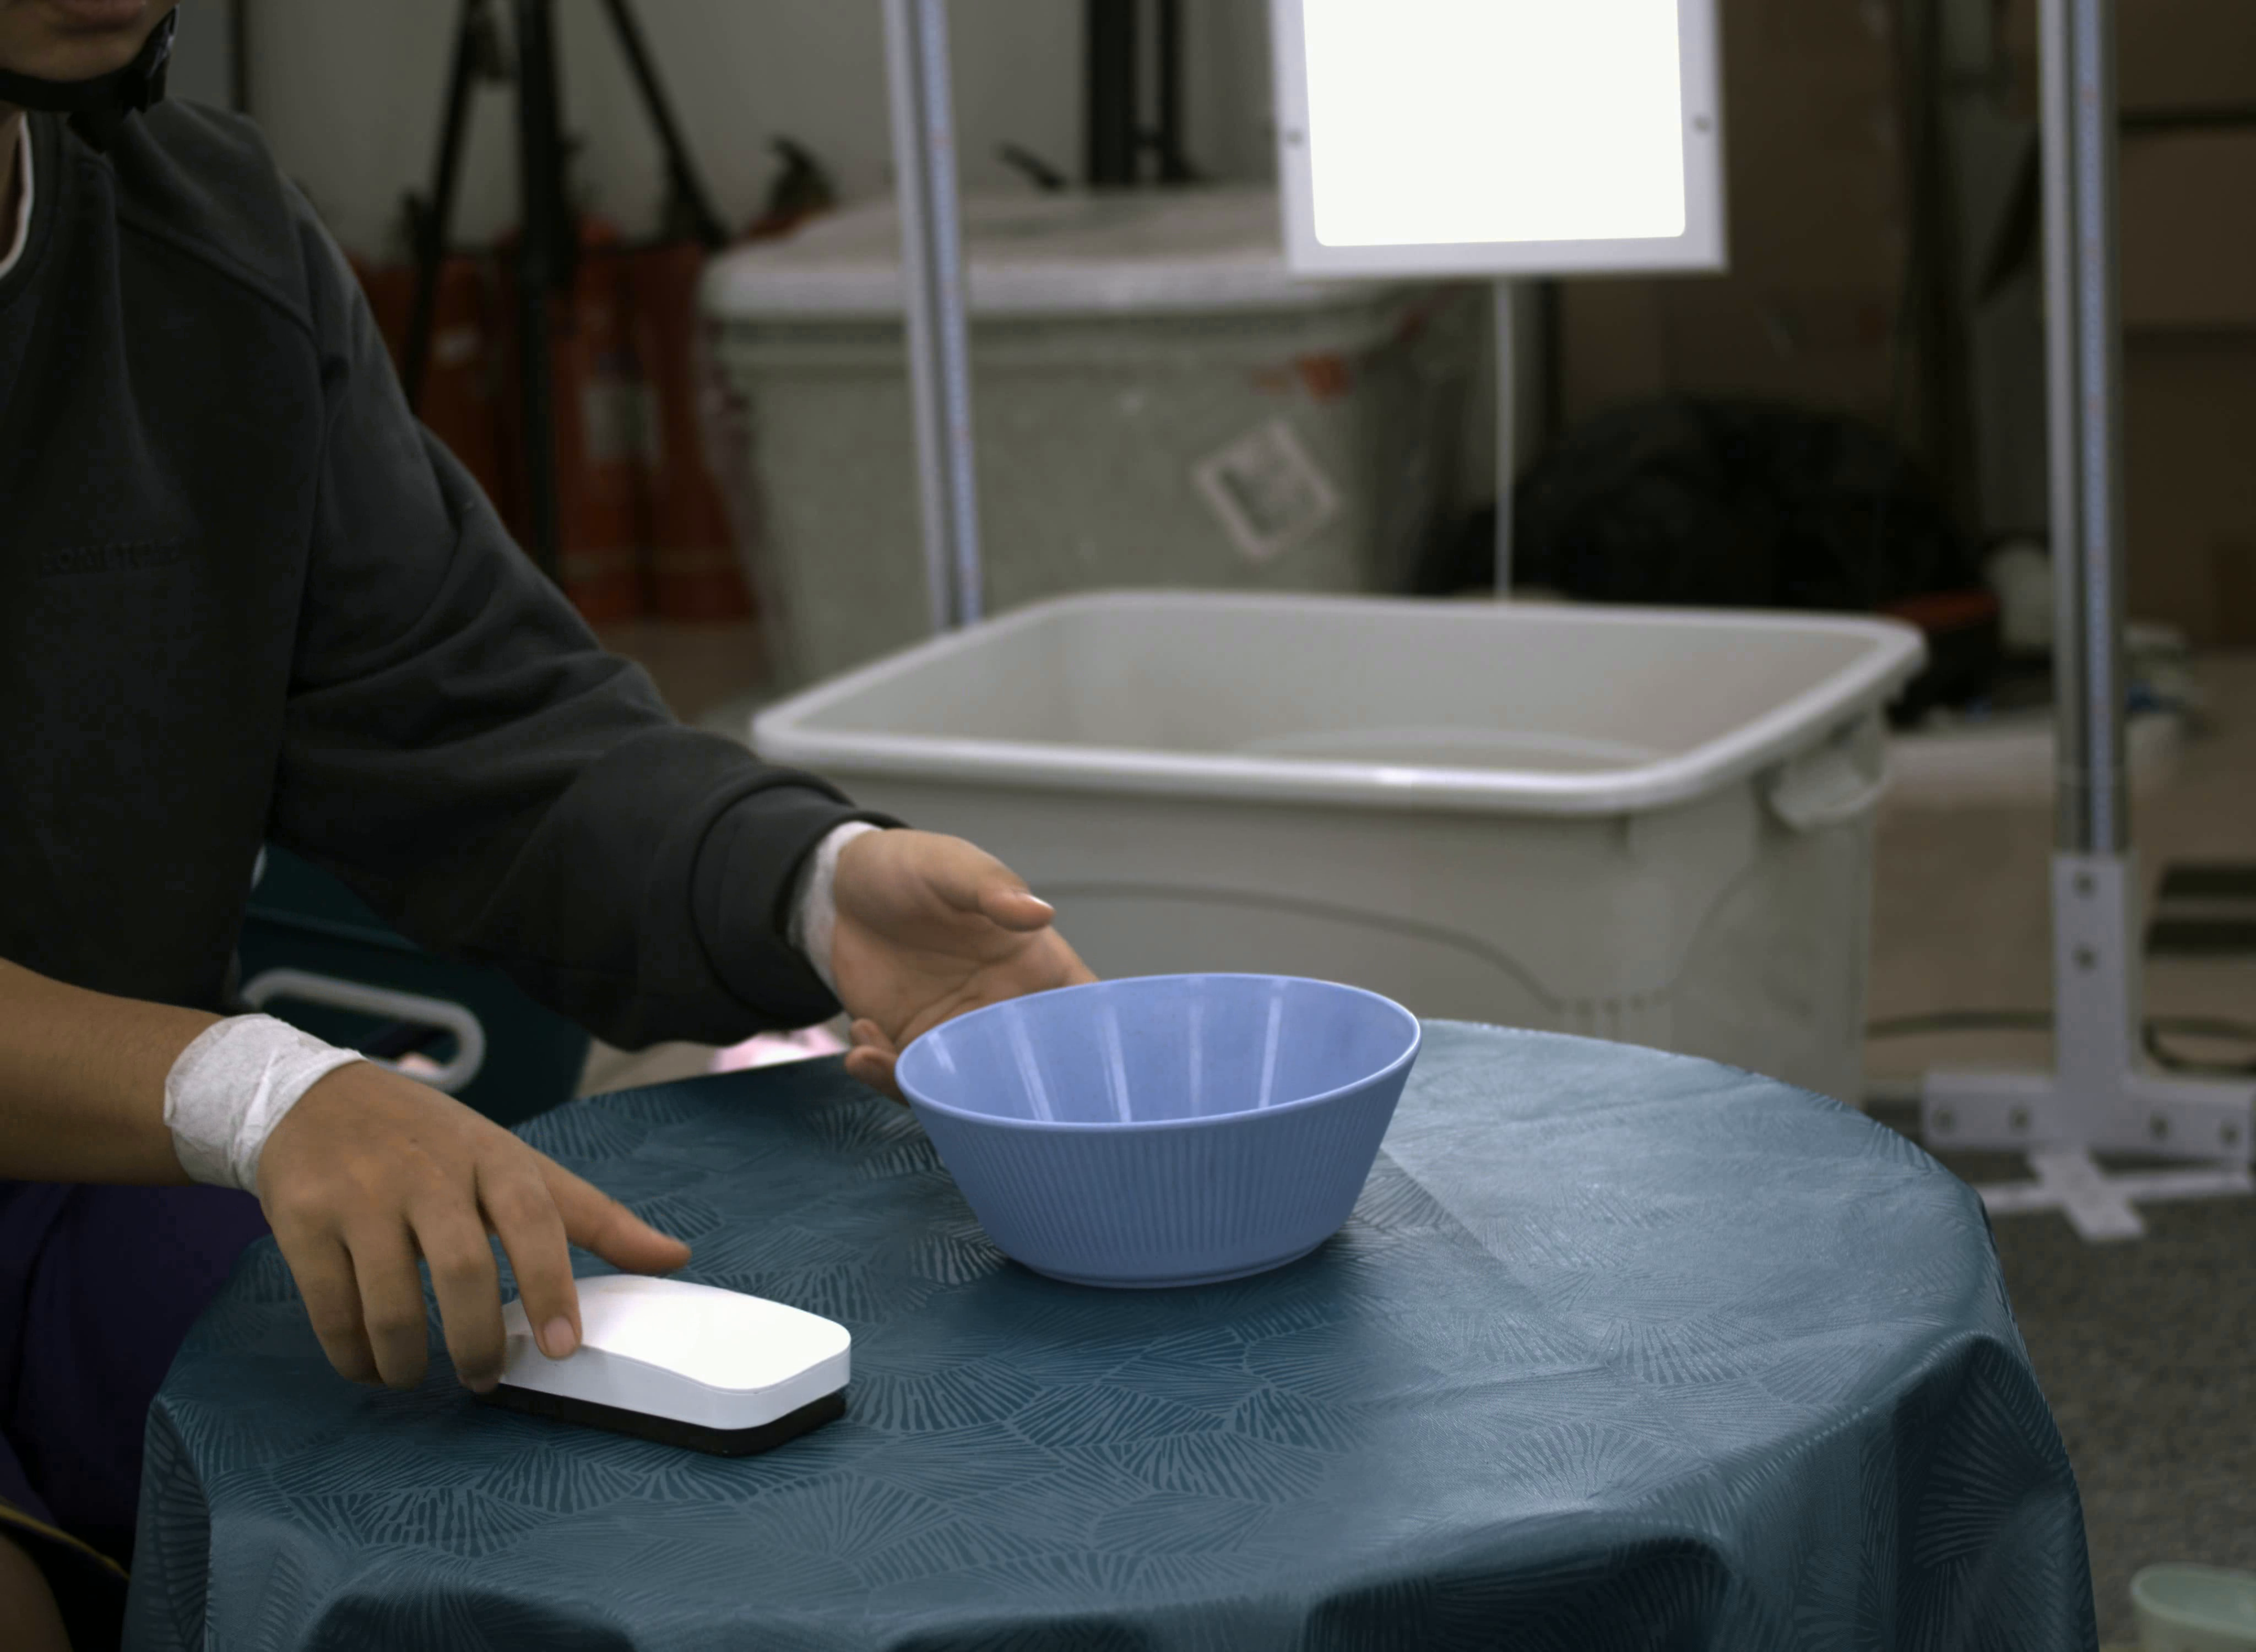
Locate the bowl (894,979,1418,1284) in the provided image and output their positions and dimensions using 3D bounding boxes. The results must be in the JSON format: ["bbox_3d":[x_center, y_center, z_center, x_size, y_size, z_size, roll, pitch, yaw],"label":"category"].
[{"bbox_3d":[0.011,0.104,1.835,0.175,0.070,0.176,-4,13,0],"label":"bowl"}]

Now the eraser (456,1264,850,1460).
[{"bbox_3d":[-0.148,0.165,1.726,0.134,0.034,0.062,10,18,41],"label":"eraser"}]
